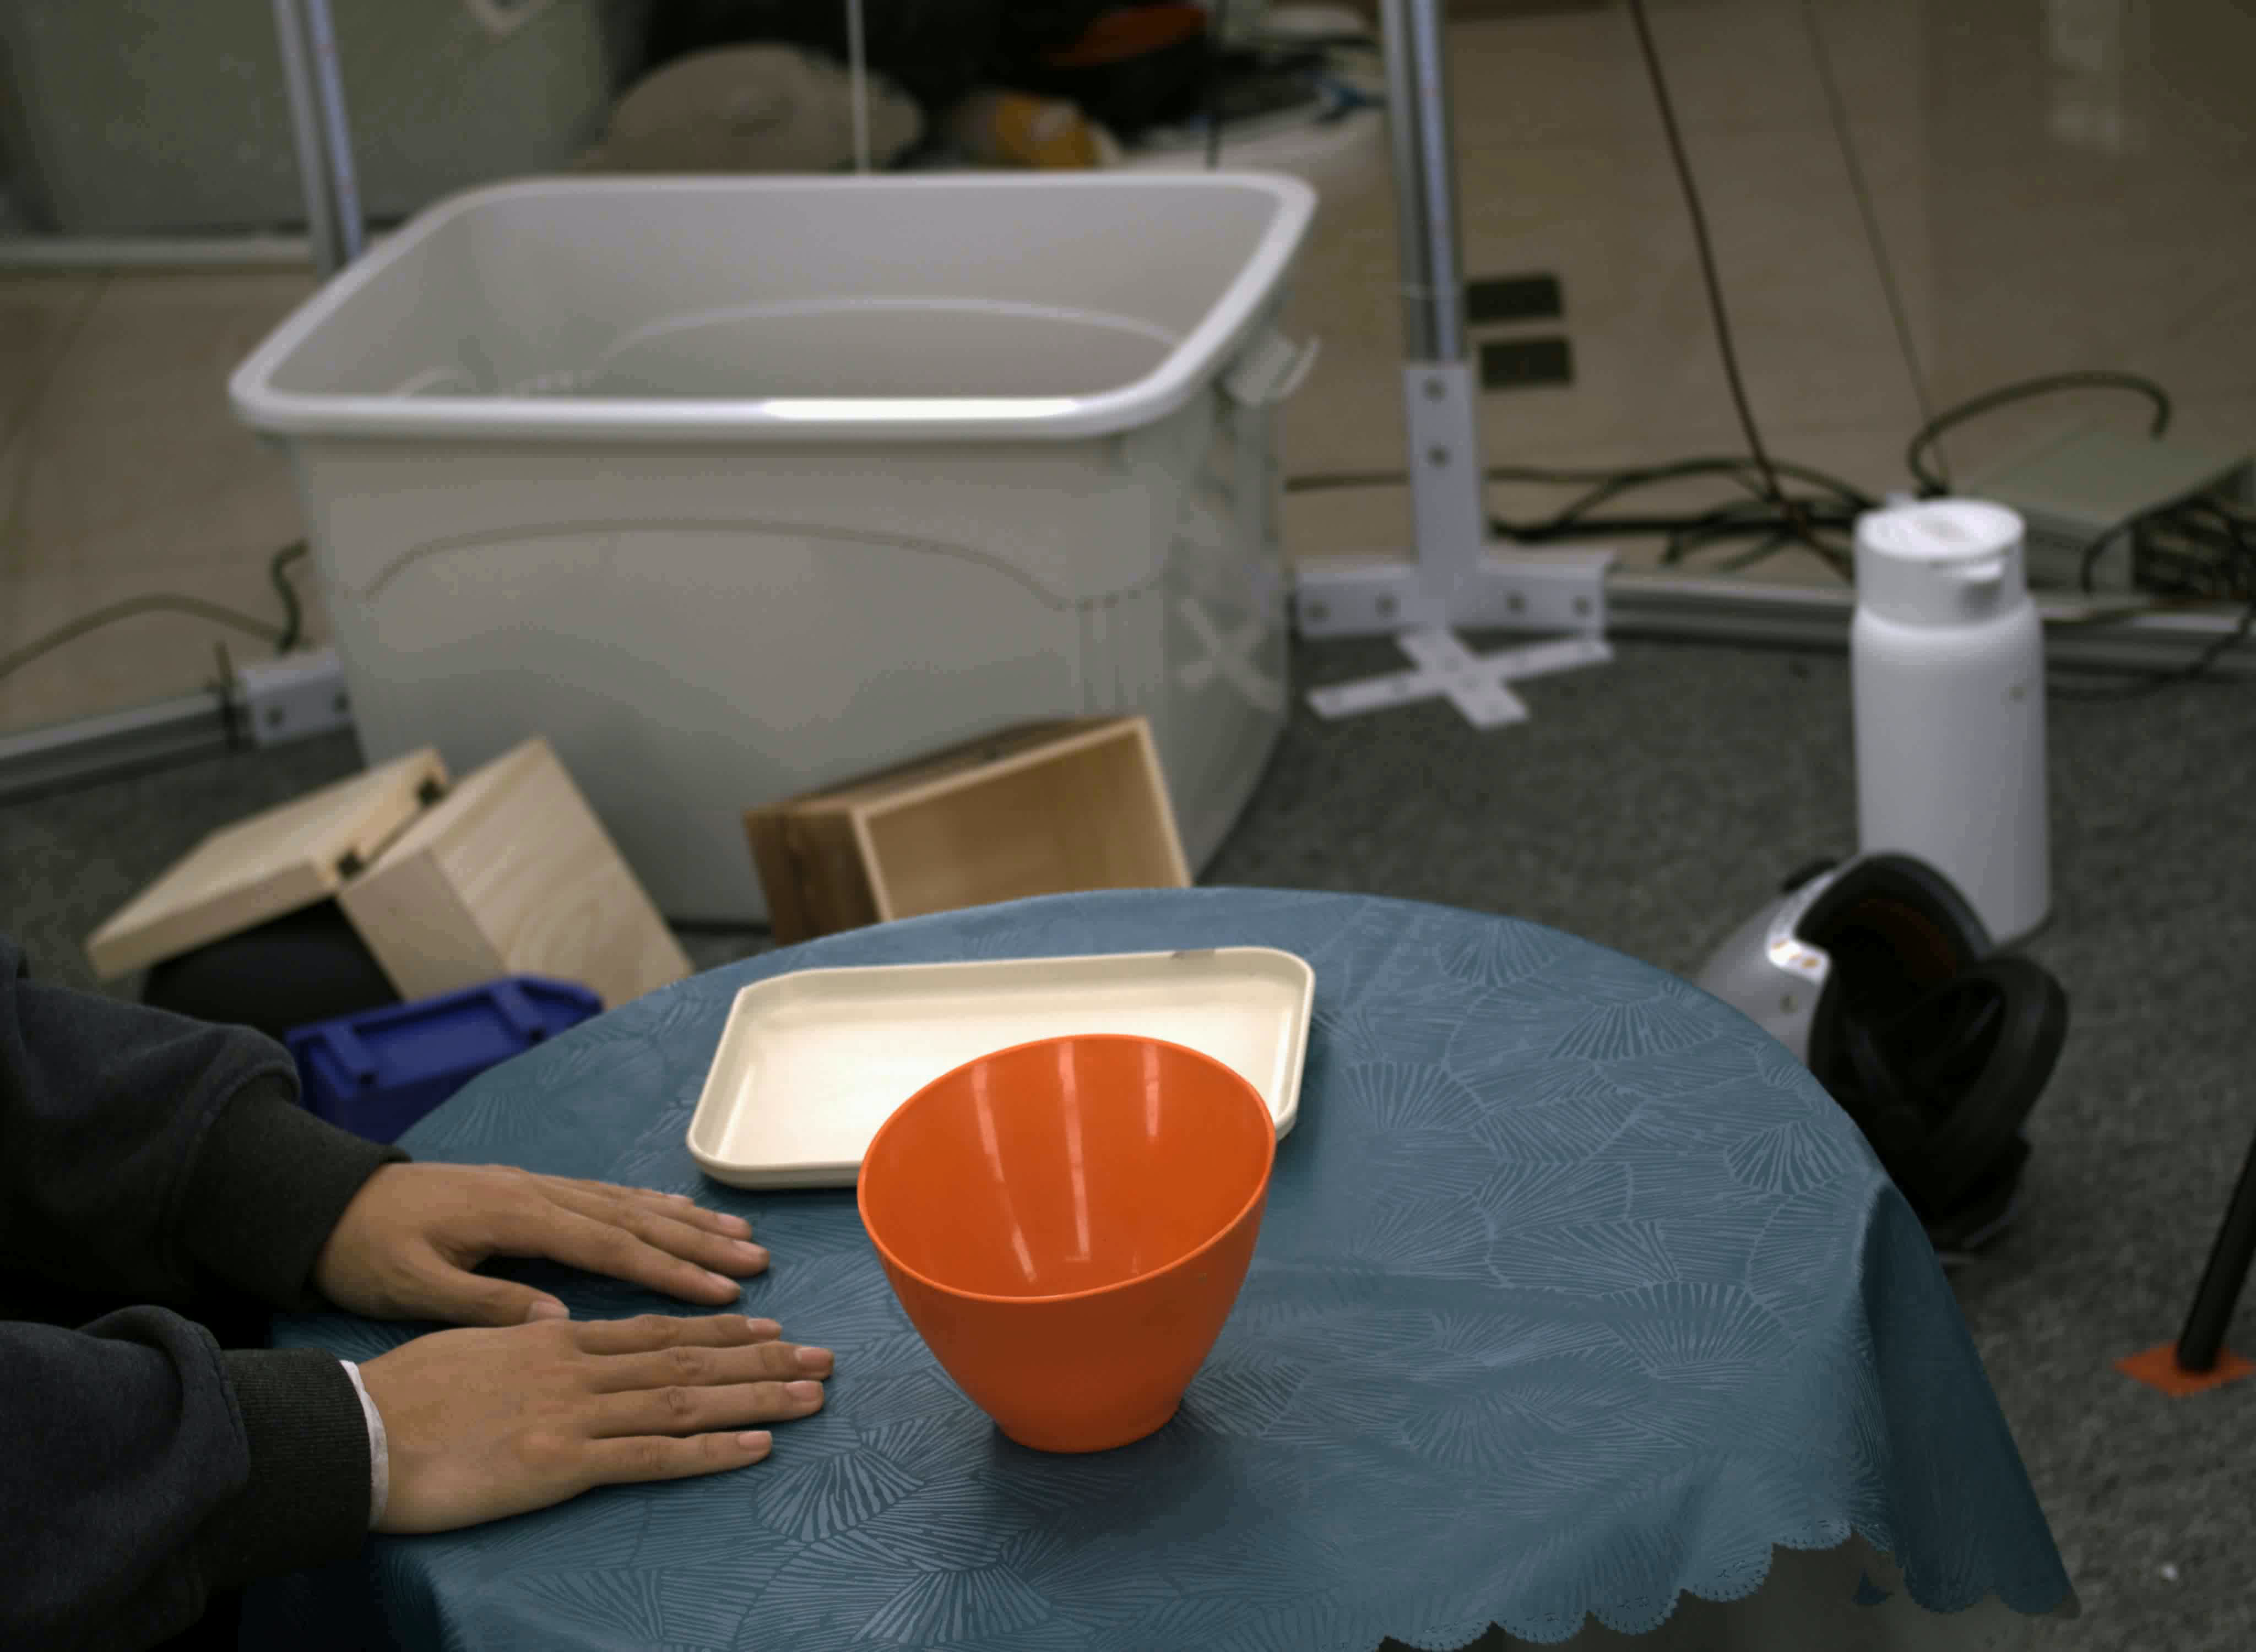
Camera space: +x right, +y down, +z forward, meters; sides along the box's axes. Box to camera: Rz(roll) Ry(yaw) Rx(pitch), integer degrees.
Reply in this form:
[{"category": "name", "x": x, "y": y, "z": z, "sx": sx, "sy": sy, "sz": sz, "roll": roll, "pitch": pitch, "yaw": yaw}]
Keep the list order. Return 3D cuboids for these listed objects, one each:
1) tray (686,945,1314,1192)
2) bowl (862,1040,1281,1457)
[{"category": "tray", "x": -0.048, "y": 0.096, "z": 2.229, "sx": 0.239, "sy": 0.018, "sz": 0.169, "roll": -3, "pitch": 26, "yaw": 8}, {"category": "bowl", "x": -0.016, "y": 0.155, "z": 1.995, "sx": 0.148, "sy": 0.106, "sz": 0.146, "roll": -5, "pitch": 25, "yaw": 2}]
